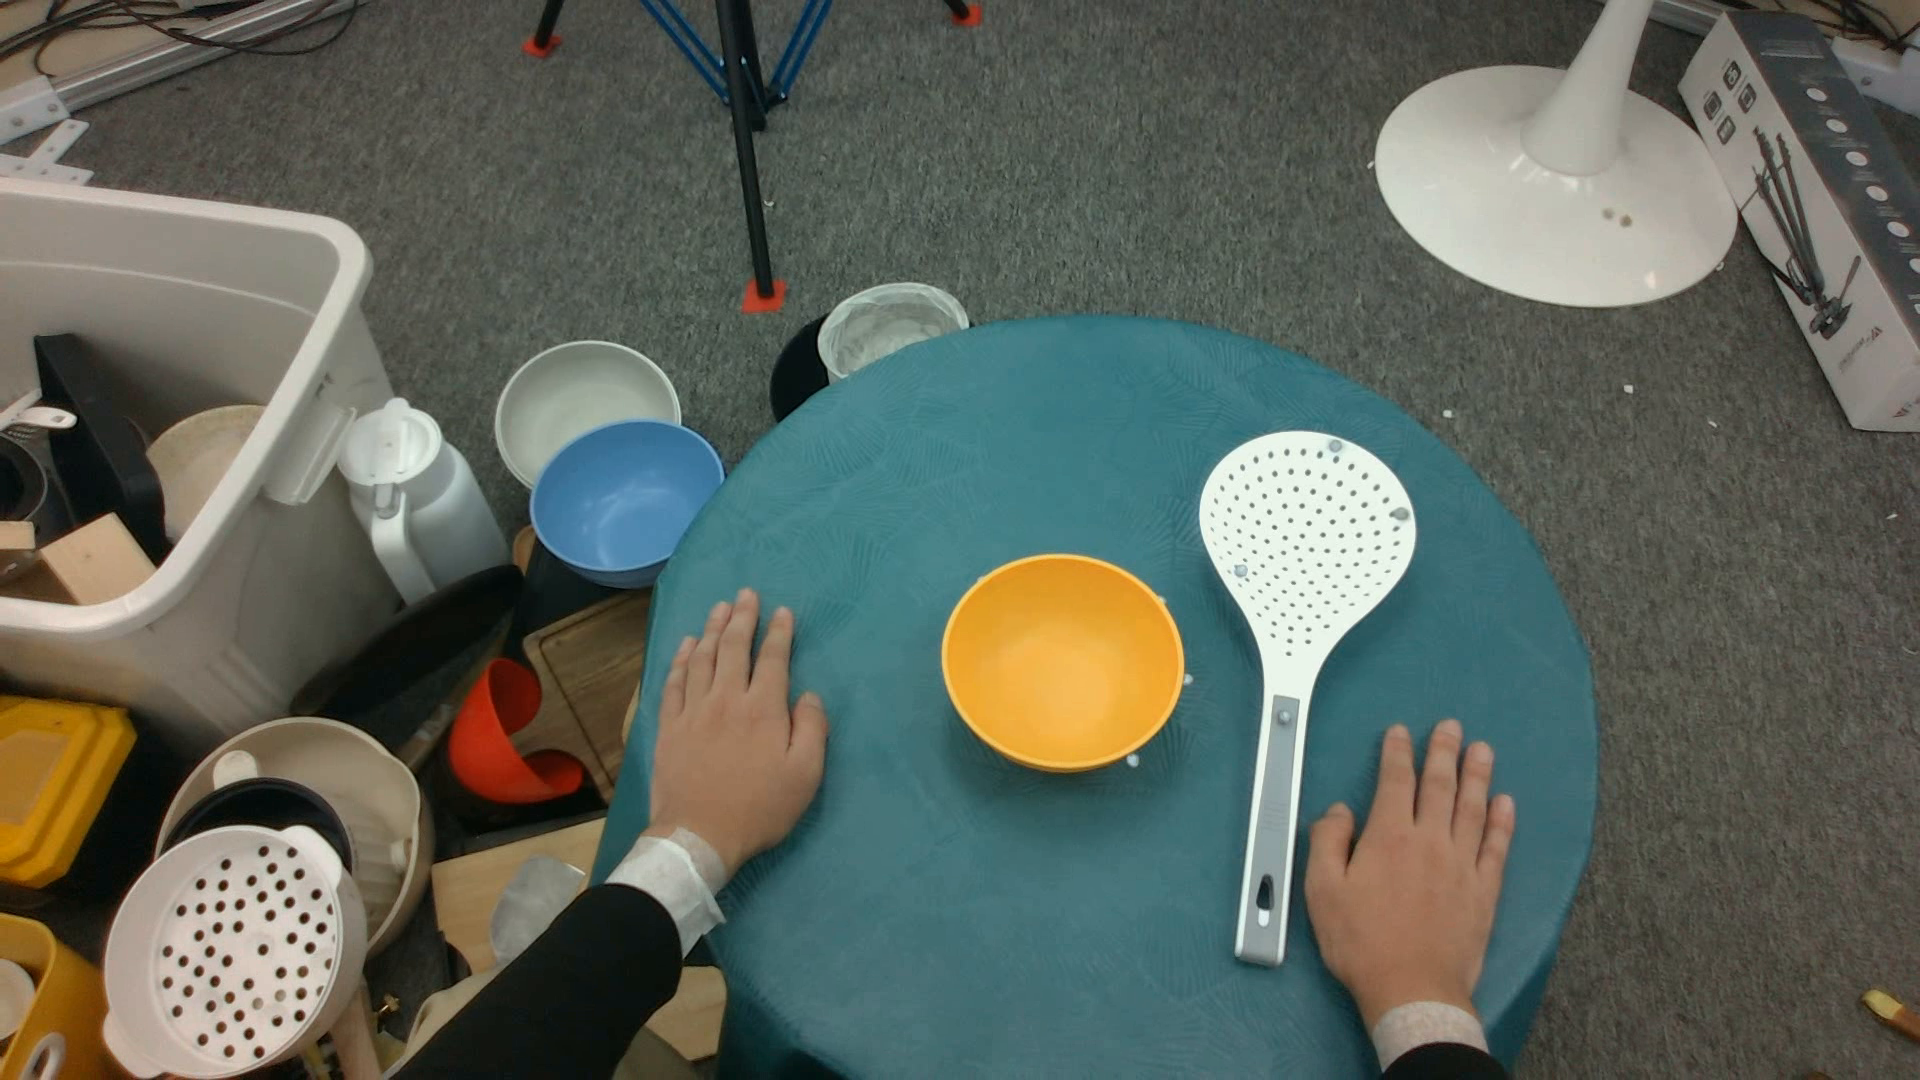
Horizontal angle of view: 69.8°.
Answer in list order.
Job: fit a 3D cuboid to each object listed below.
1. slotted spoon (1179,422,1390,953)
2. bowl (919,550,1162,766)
[{"bbox_3d":[0.188,0.077,0.848,0.136,0.045,0.351,10,57,6],"label":"slotted spoon"},{"bbox_3d":[0.048,0.081,0.837,0.145,0.060,0.146,0,54,1],"label":"bowl"}]
